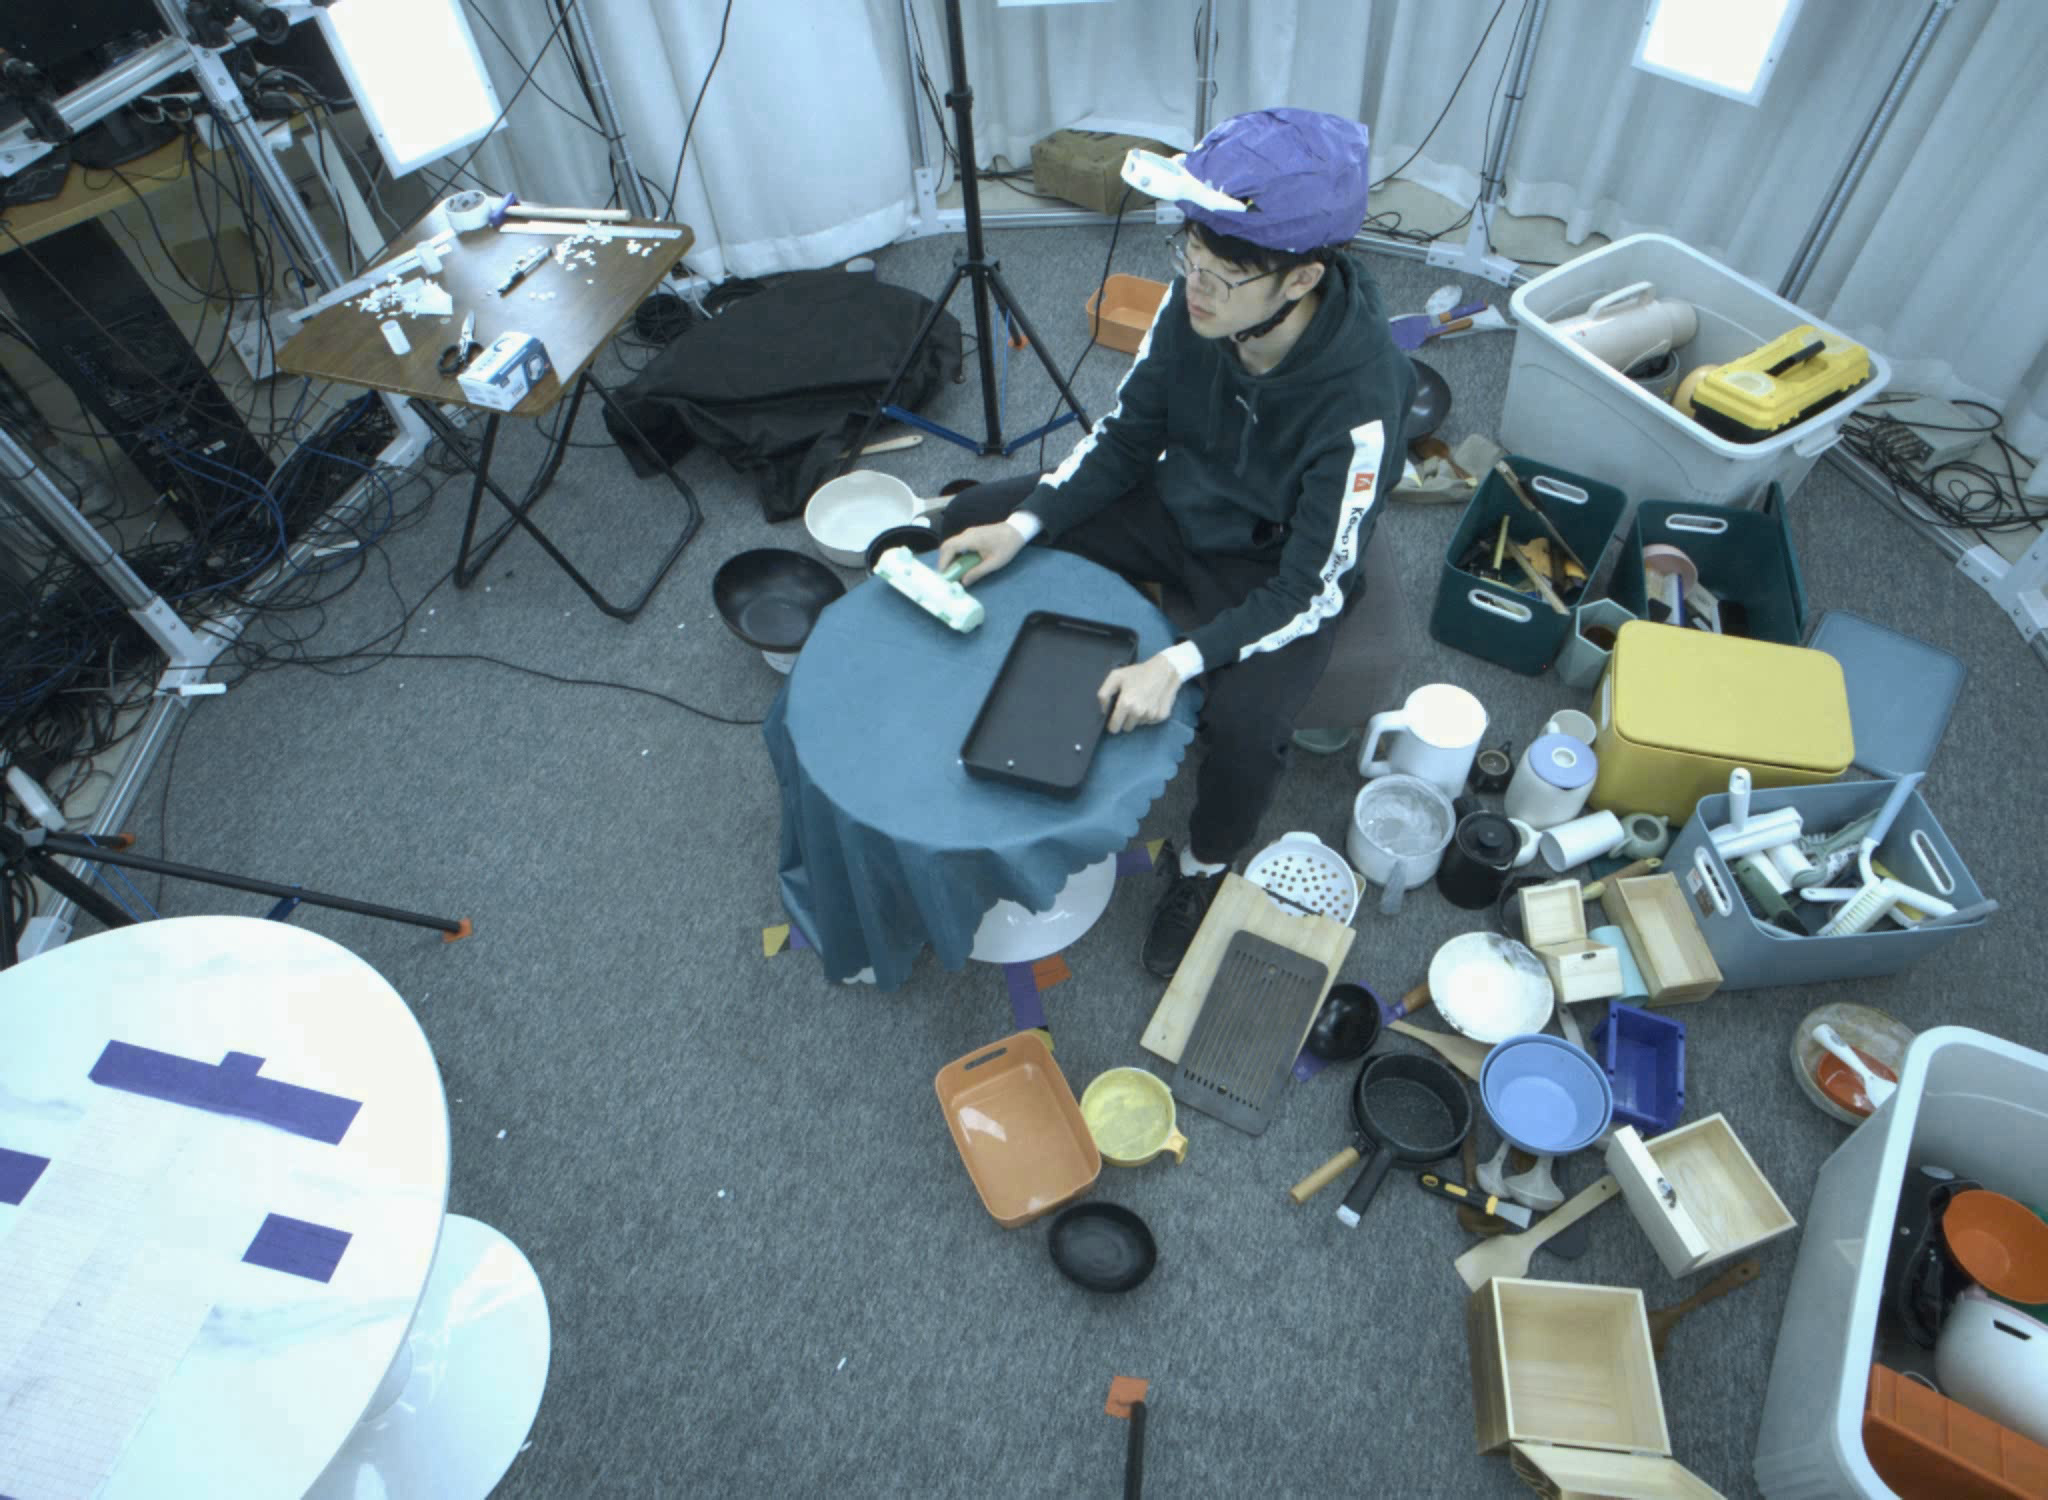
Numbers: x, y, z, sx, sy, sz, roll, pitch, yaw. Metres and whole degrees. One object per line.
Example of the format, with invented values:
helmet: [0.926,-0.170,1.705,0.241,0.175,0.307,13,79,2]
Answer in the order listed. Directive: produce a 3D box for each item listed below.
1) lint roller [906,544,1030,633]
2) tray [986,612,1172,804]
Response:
lint roller: [-0.061,-0.291,1.941,0.195,0.083,0.184,38,67,24]
tray: [0.085,-0.069,1.796,0.182,0.037,0.318,16,54,15]
